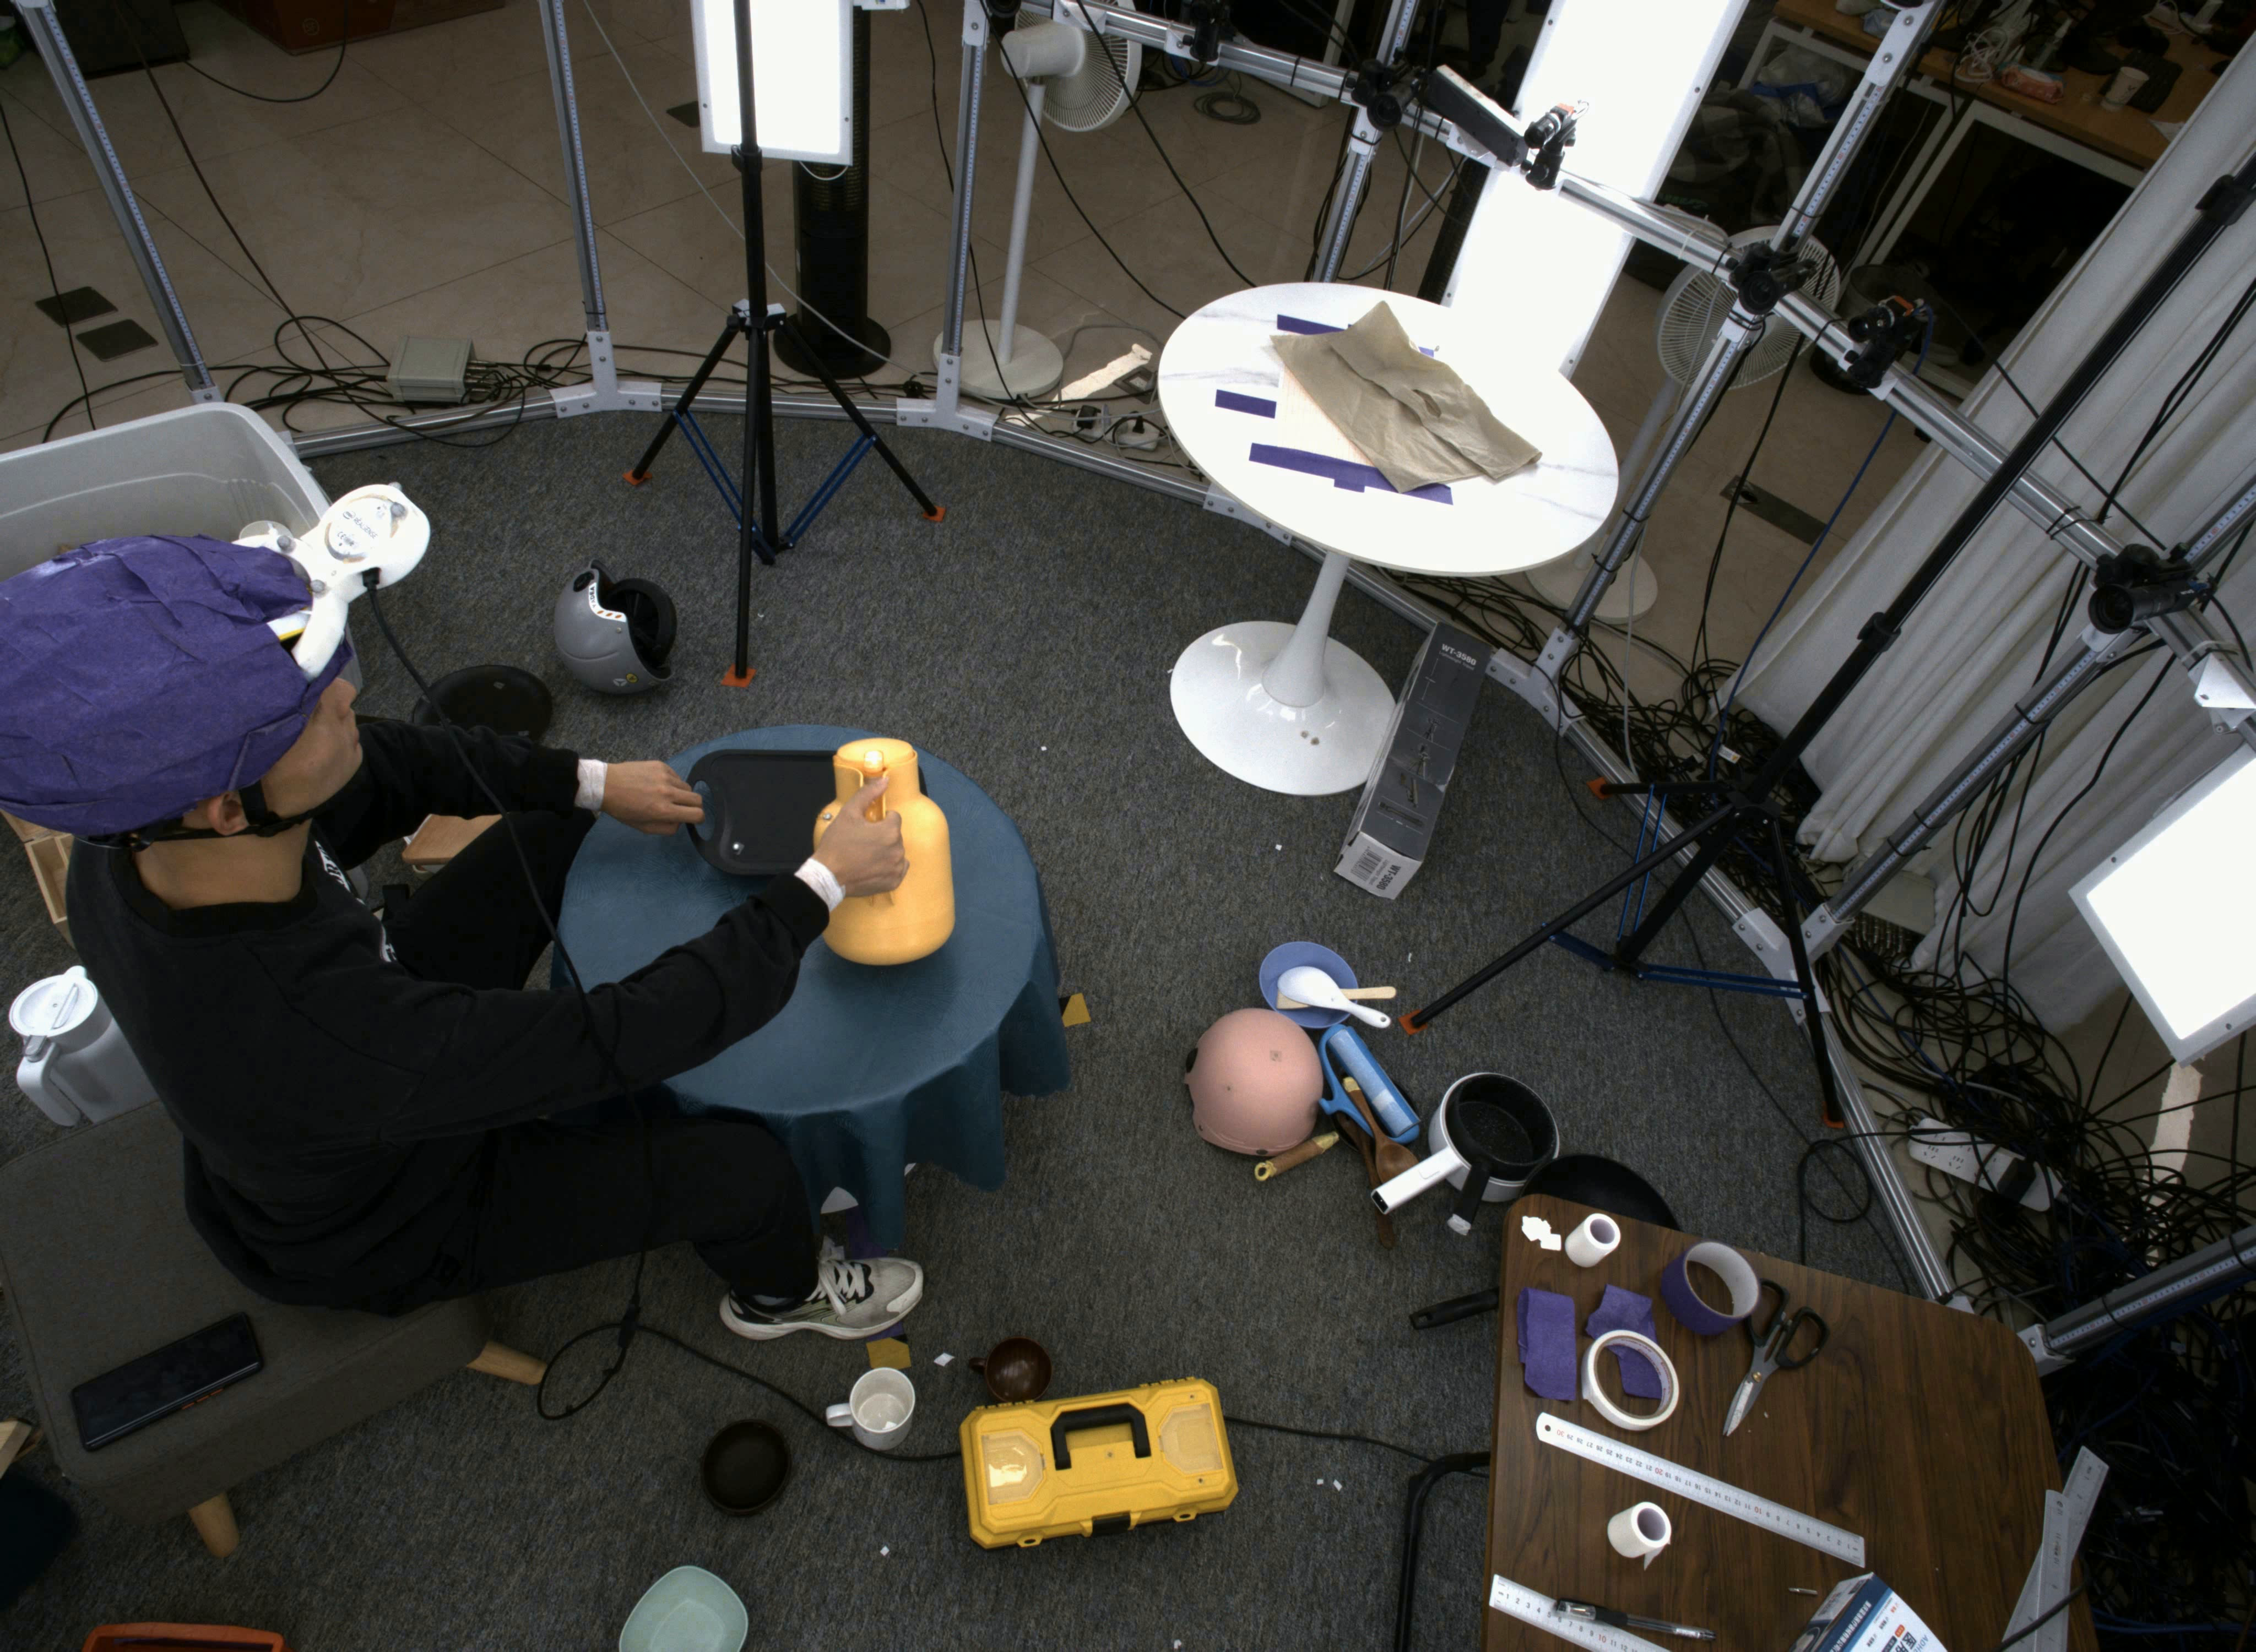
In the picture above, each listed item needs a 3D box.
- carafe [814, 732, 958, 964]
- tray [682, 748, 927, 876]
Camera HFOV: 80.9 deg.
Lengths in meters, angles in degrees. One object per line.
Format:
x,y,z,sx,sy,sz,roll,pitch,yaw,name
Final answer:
-0.292,0.028,1.534,0.162,0.268,0.198,-5,21,-5,carafe
-0.418,-0.023,1.706,0.329,0.010,0.206,0,53,-25,tray
